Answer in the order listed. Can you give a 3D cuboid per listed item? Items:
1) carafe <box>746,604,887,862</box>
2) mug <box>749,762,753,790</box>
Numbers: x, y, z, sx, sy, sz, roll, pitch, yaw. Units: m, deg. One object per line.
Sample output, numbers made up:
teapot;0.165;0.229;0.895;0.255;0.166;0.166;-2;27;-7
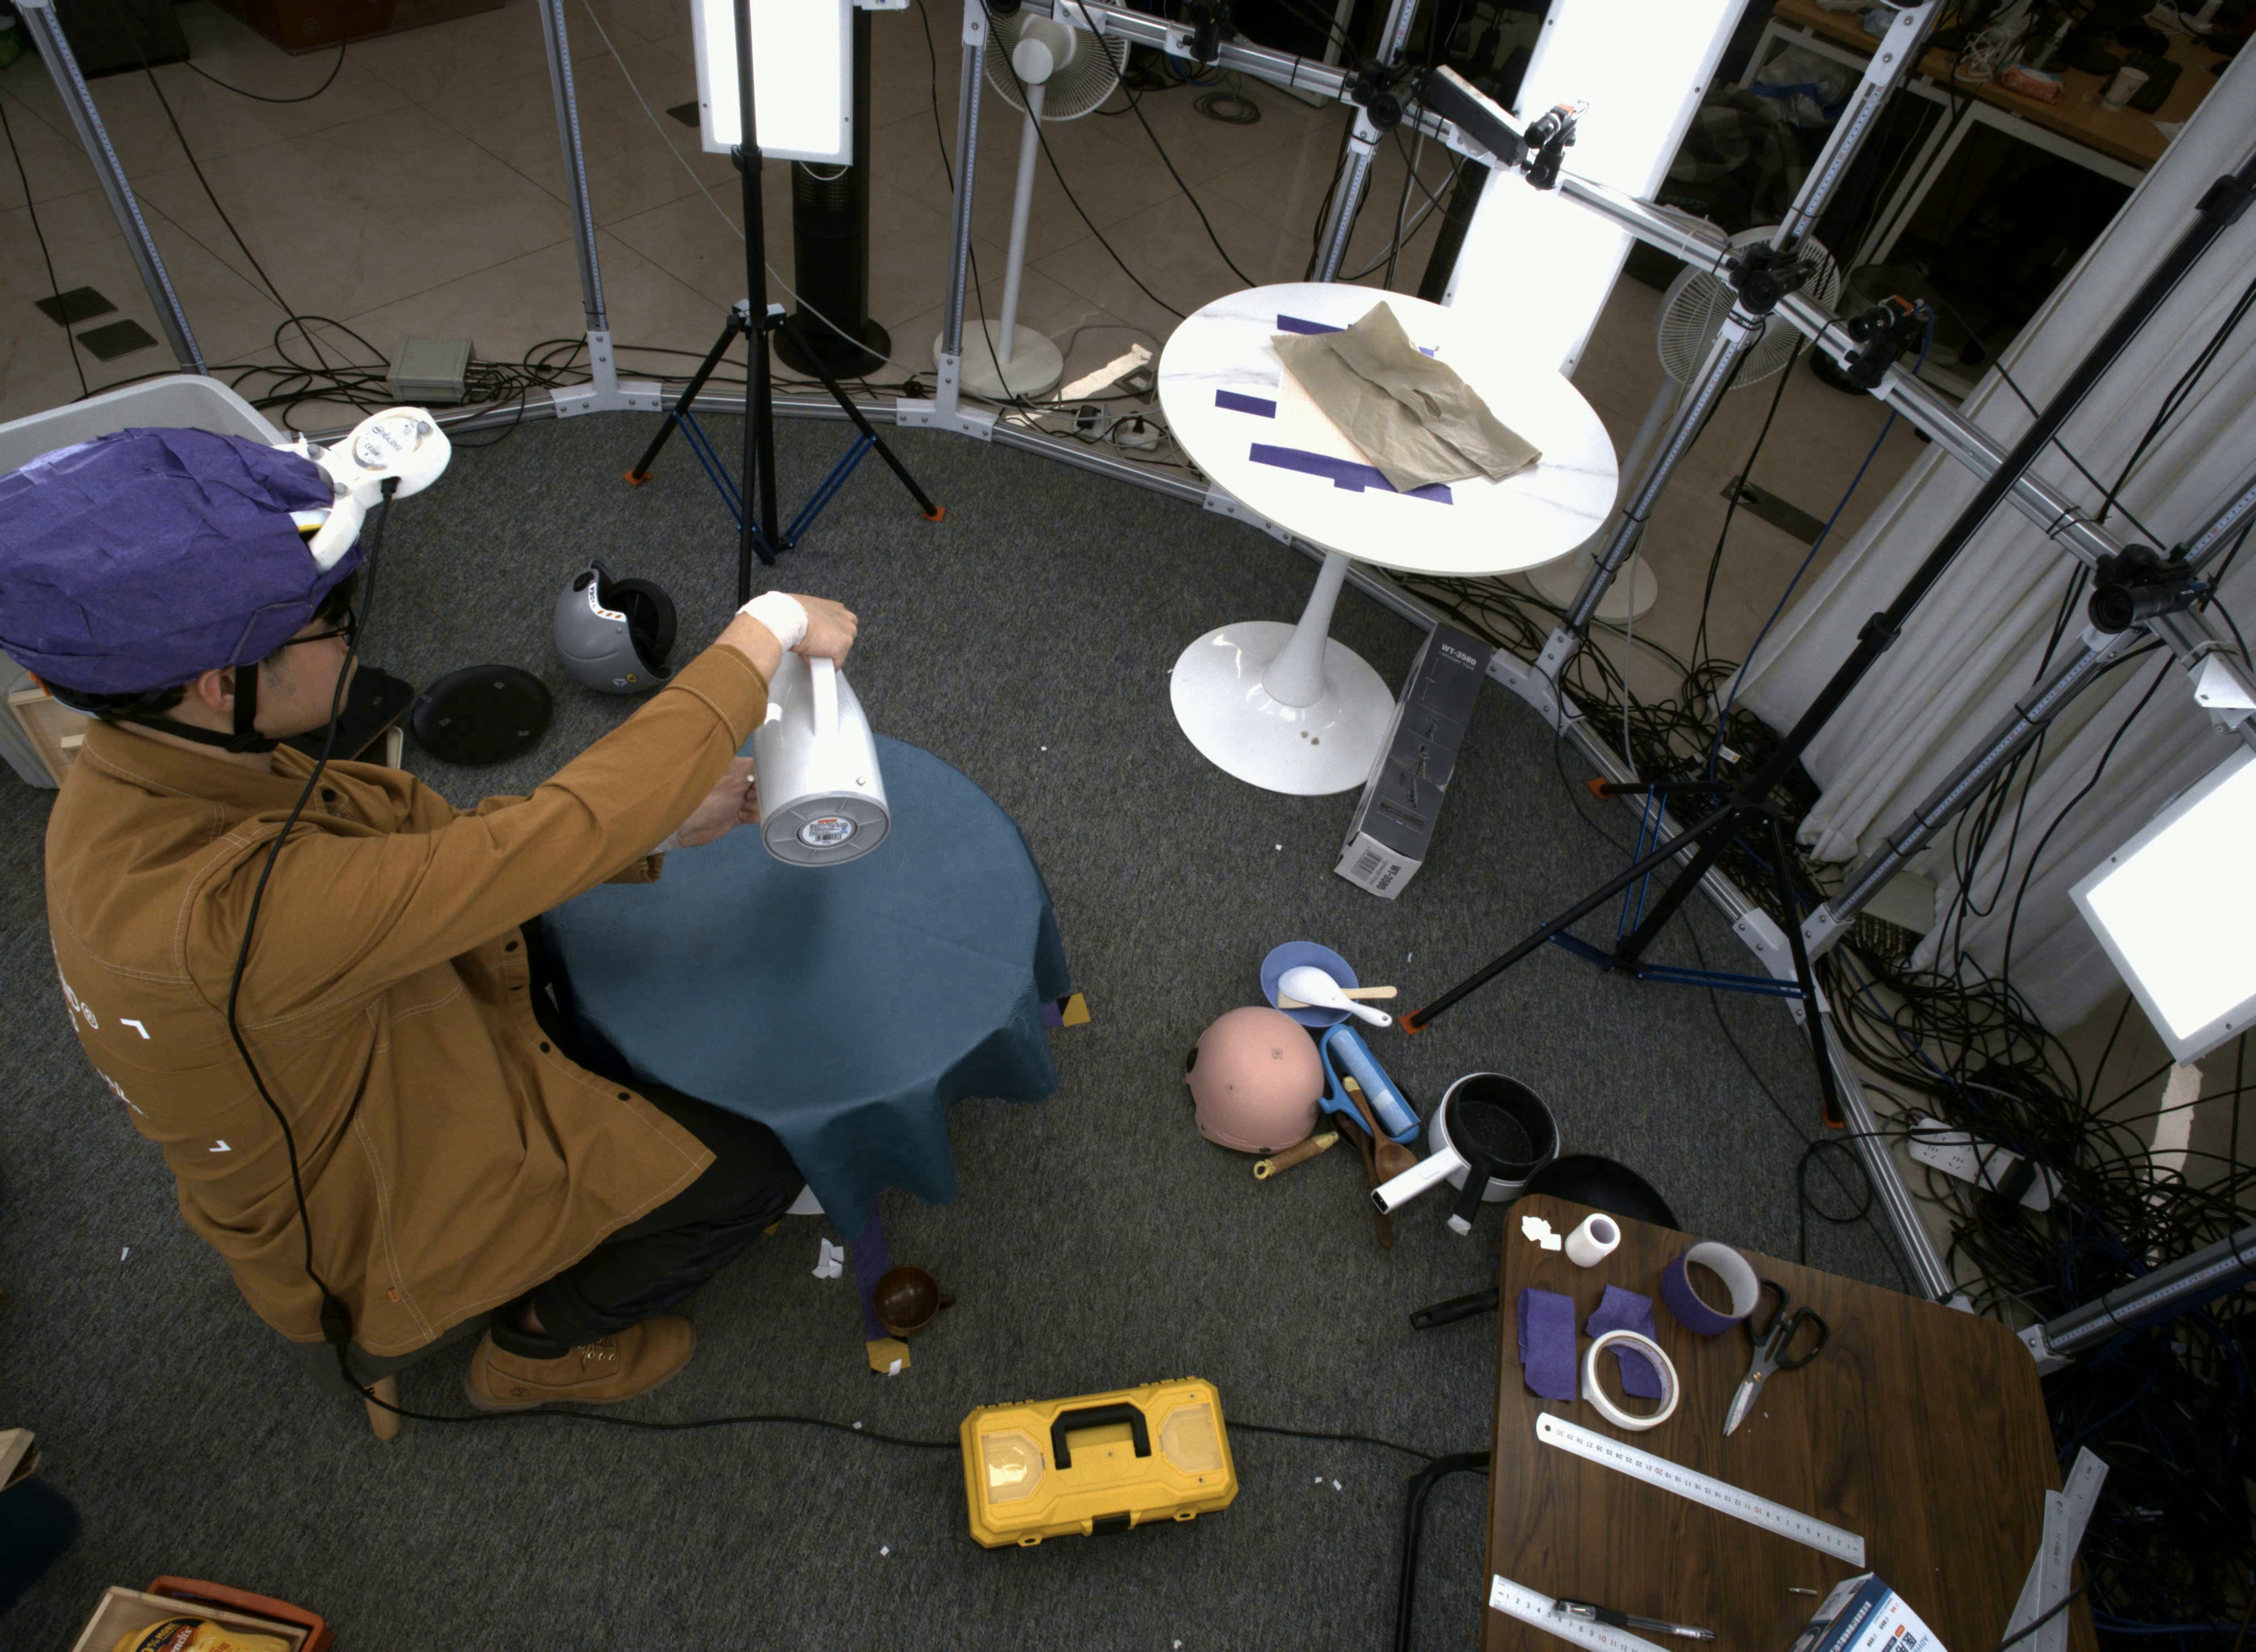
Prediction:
carafe;-0.334;-0.114;1.362;0.134;0.169;0.243;-1;58;-25
mug;-0.409;-0.082;1.548;0.083;0.104;0.118;29;49;10
